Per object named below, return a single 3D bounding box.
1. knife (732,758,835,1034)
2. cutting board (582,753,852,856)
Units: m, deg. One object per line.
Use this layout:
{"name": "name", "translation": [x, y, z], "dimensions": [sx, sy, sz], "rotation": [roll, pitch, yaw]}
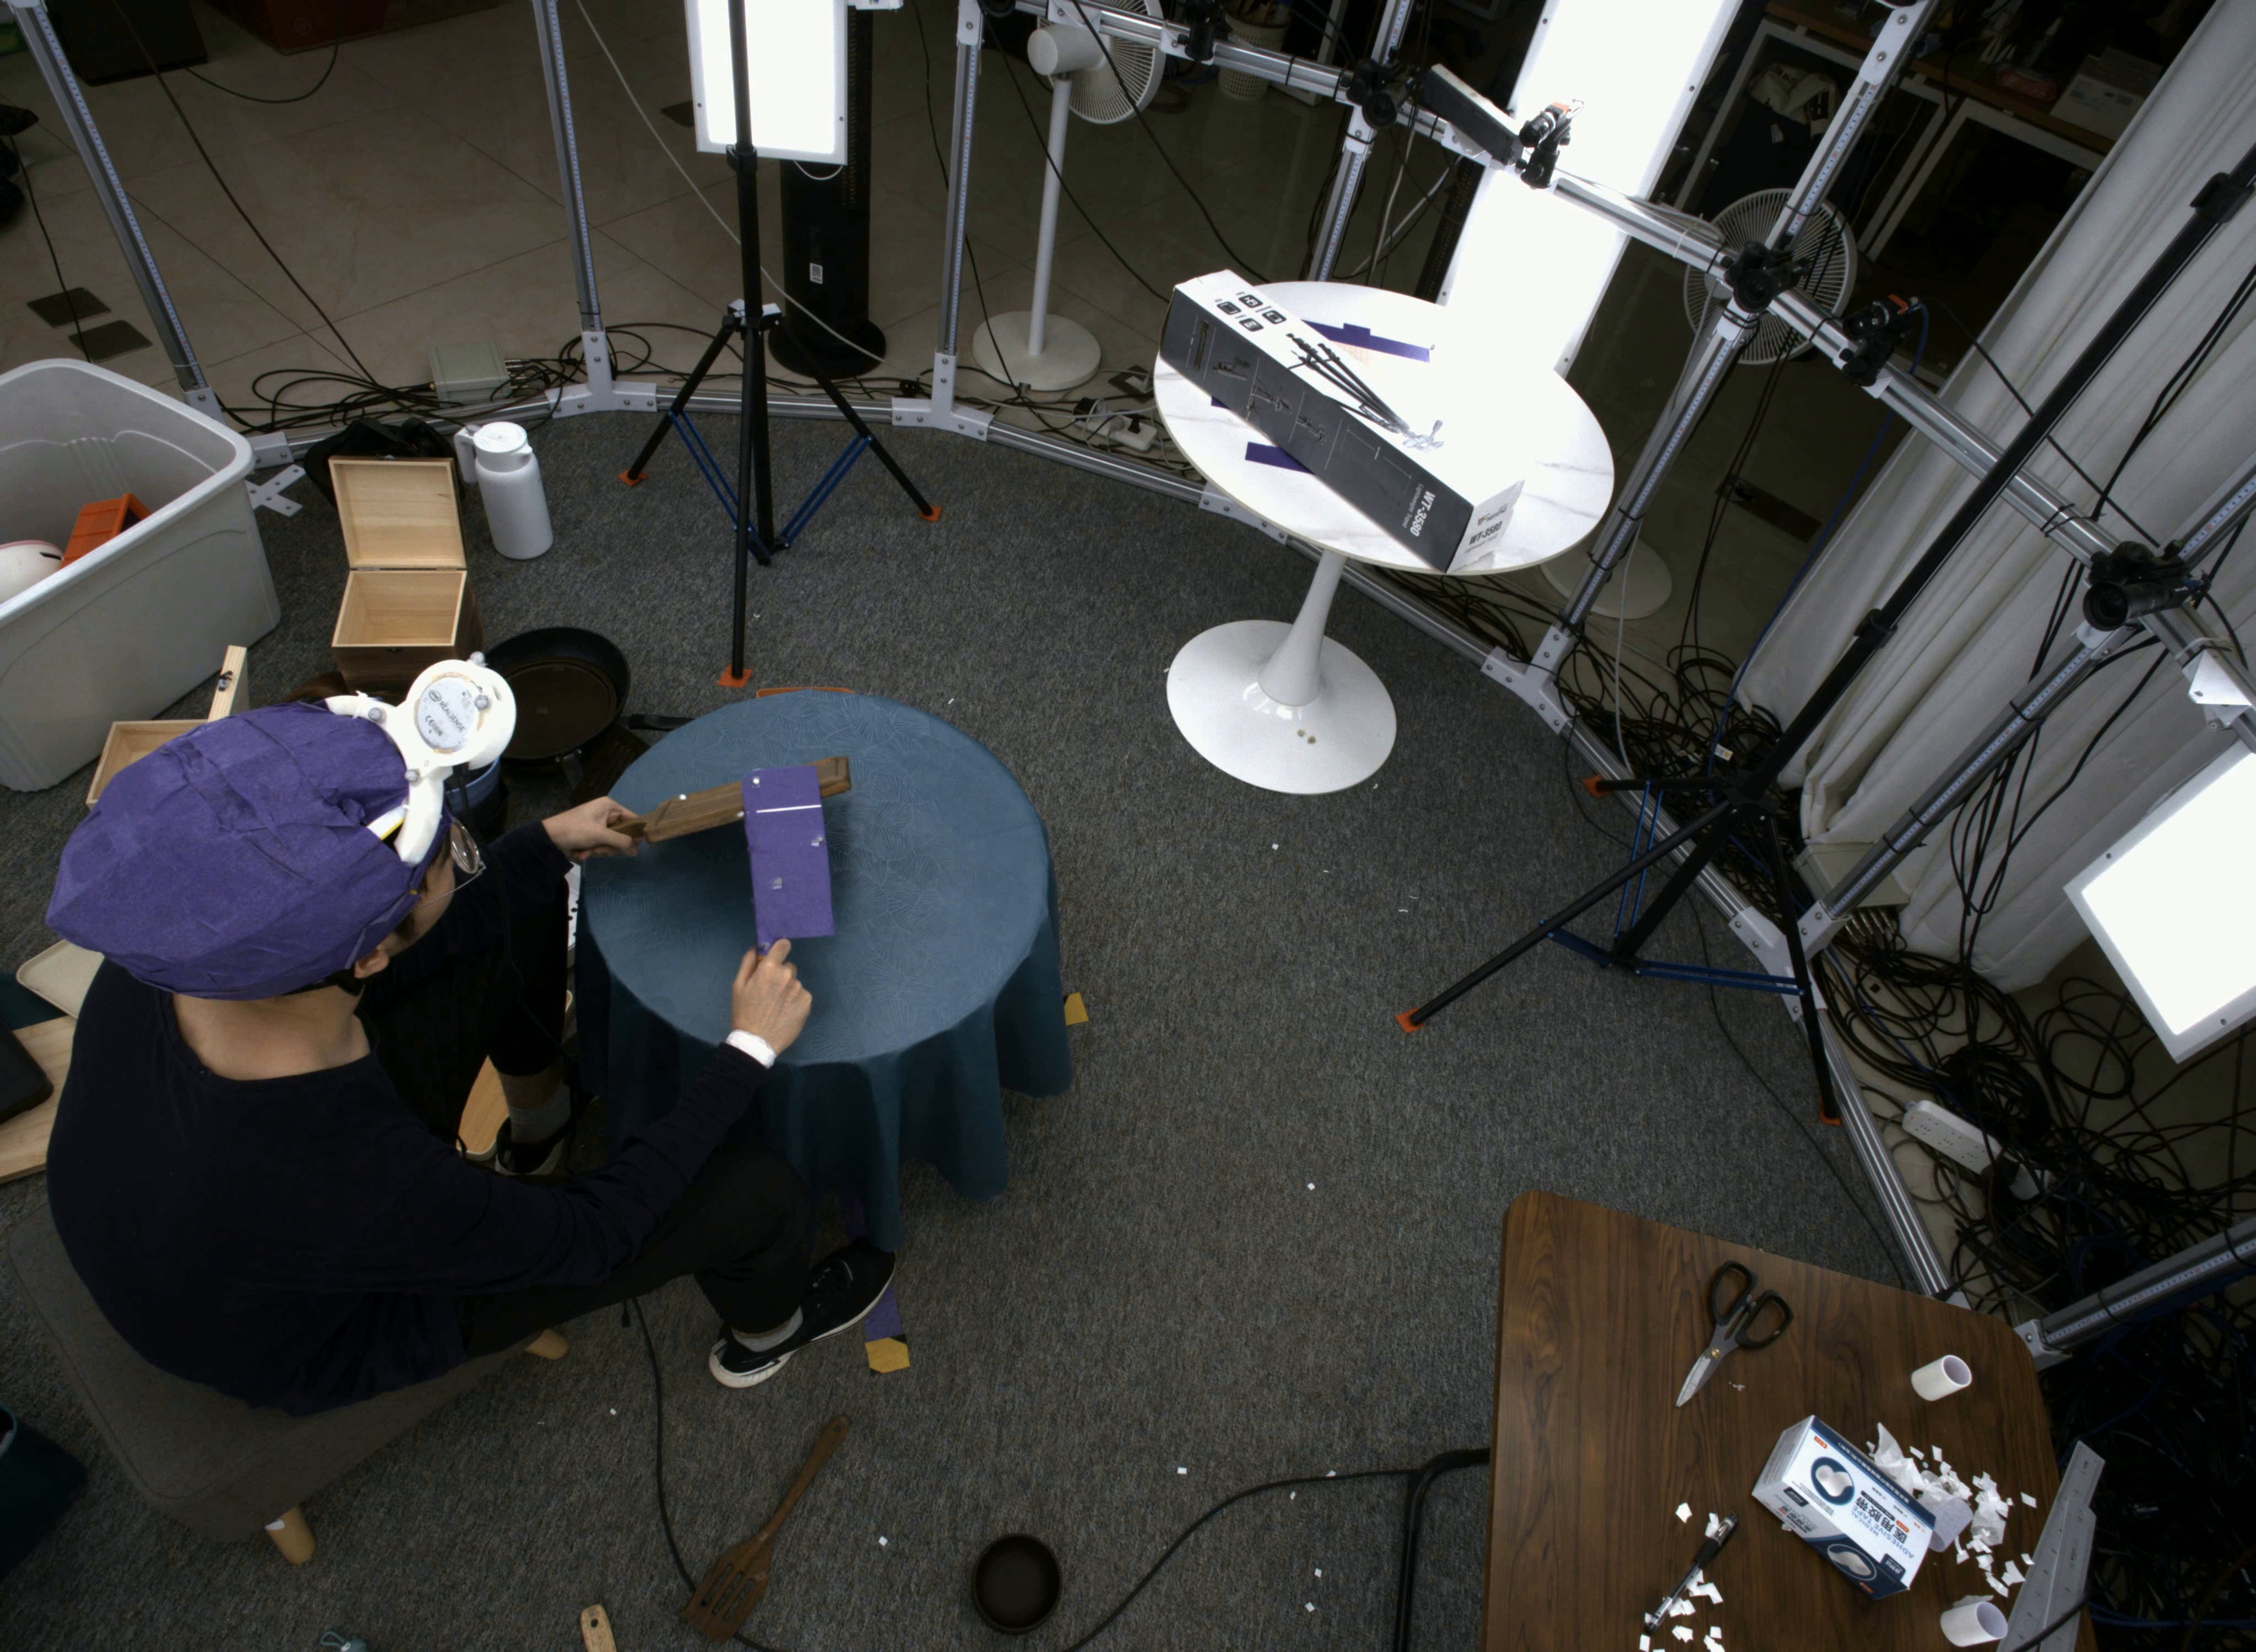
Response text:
{"name": "knife", "translation": [-0.391, 0.075, 1.508], "dimensions": [0.105, 0.032, 0.317], "rotation": [-6, 84, -25]}
{"name": "cutting board", "translation": [-0.520, -0.025, 1.624], "dimensions": [0.351, 0.024, 0.196], "rotation": [-16, 15, -10]}
